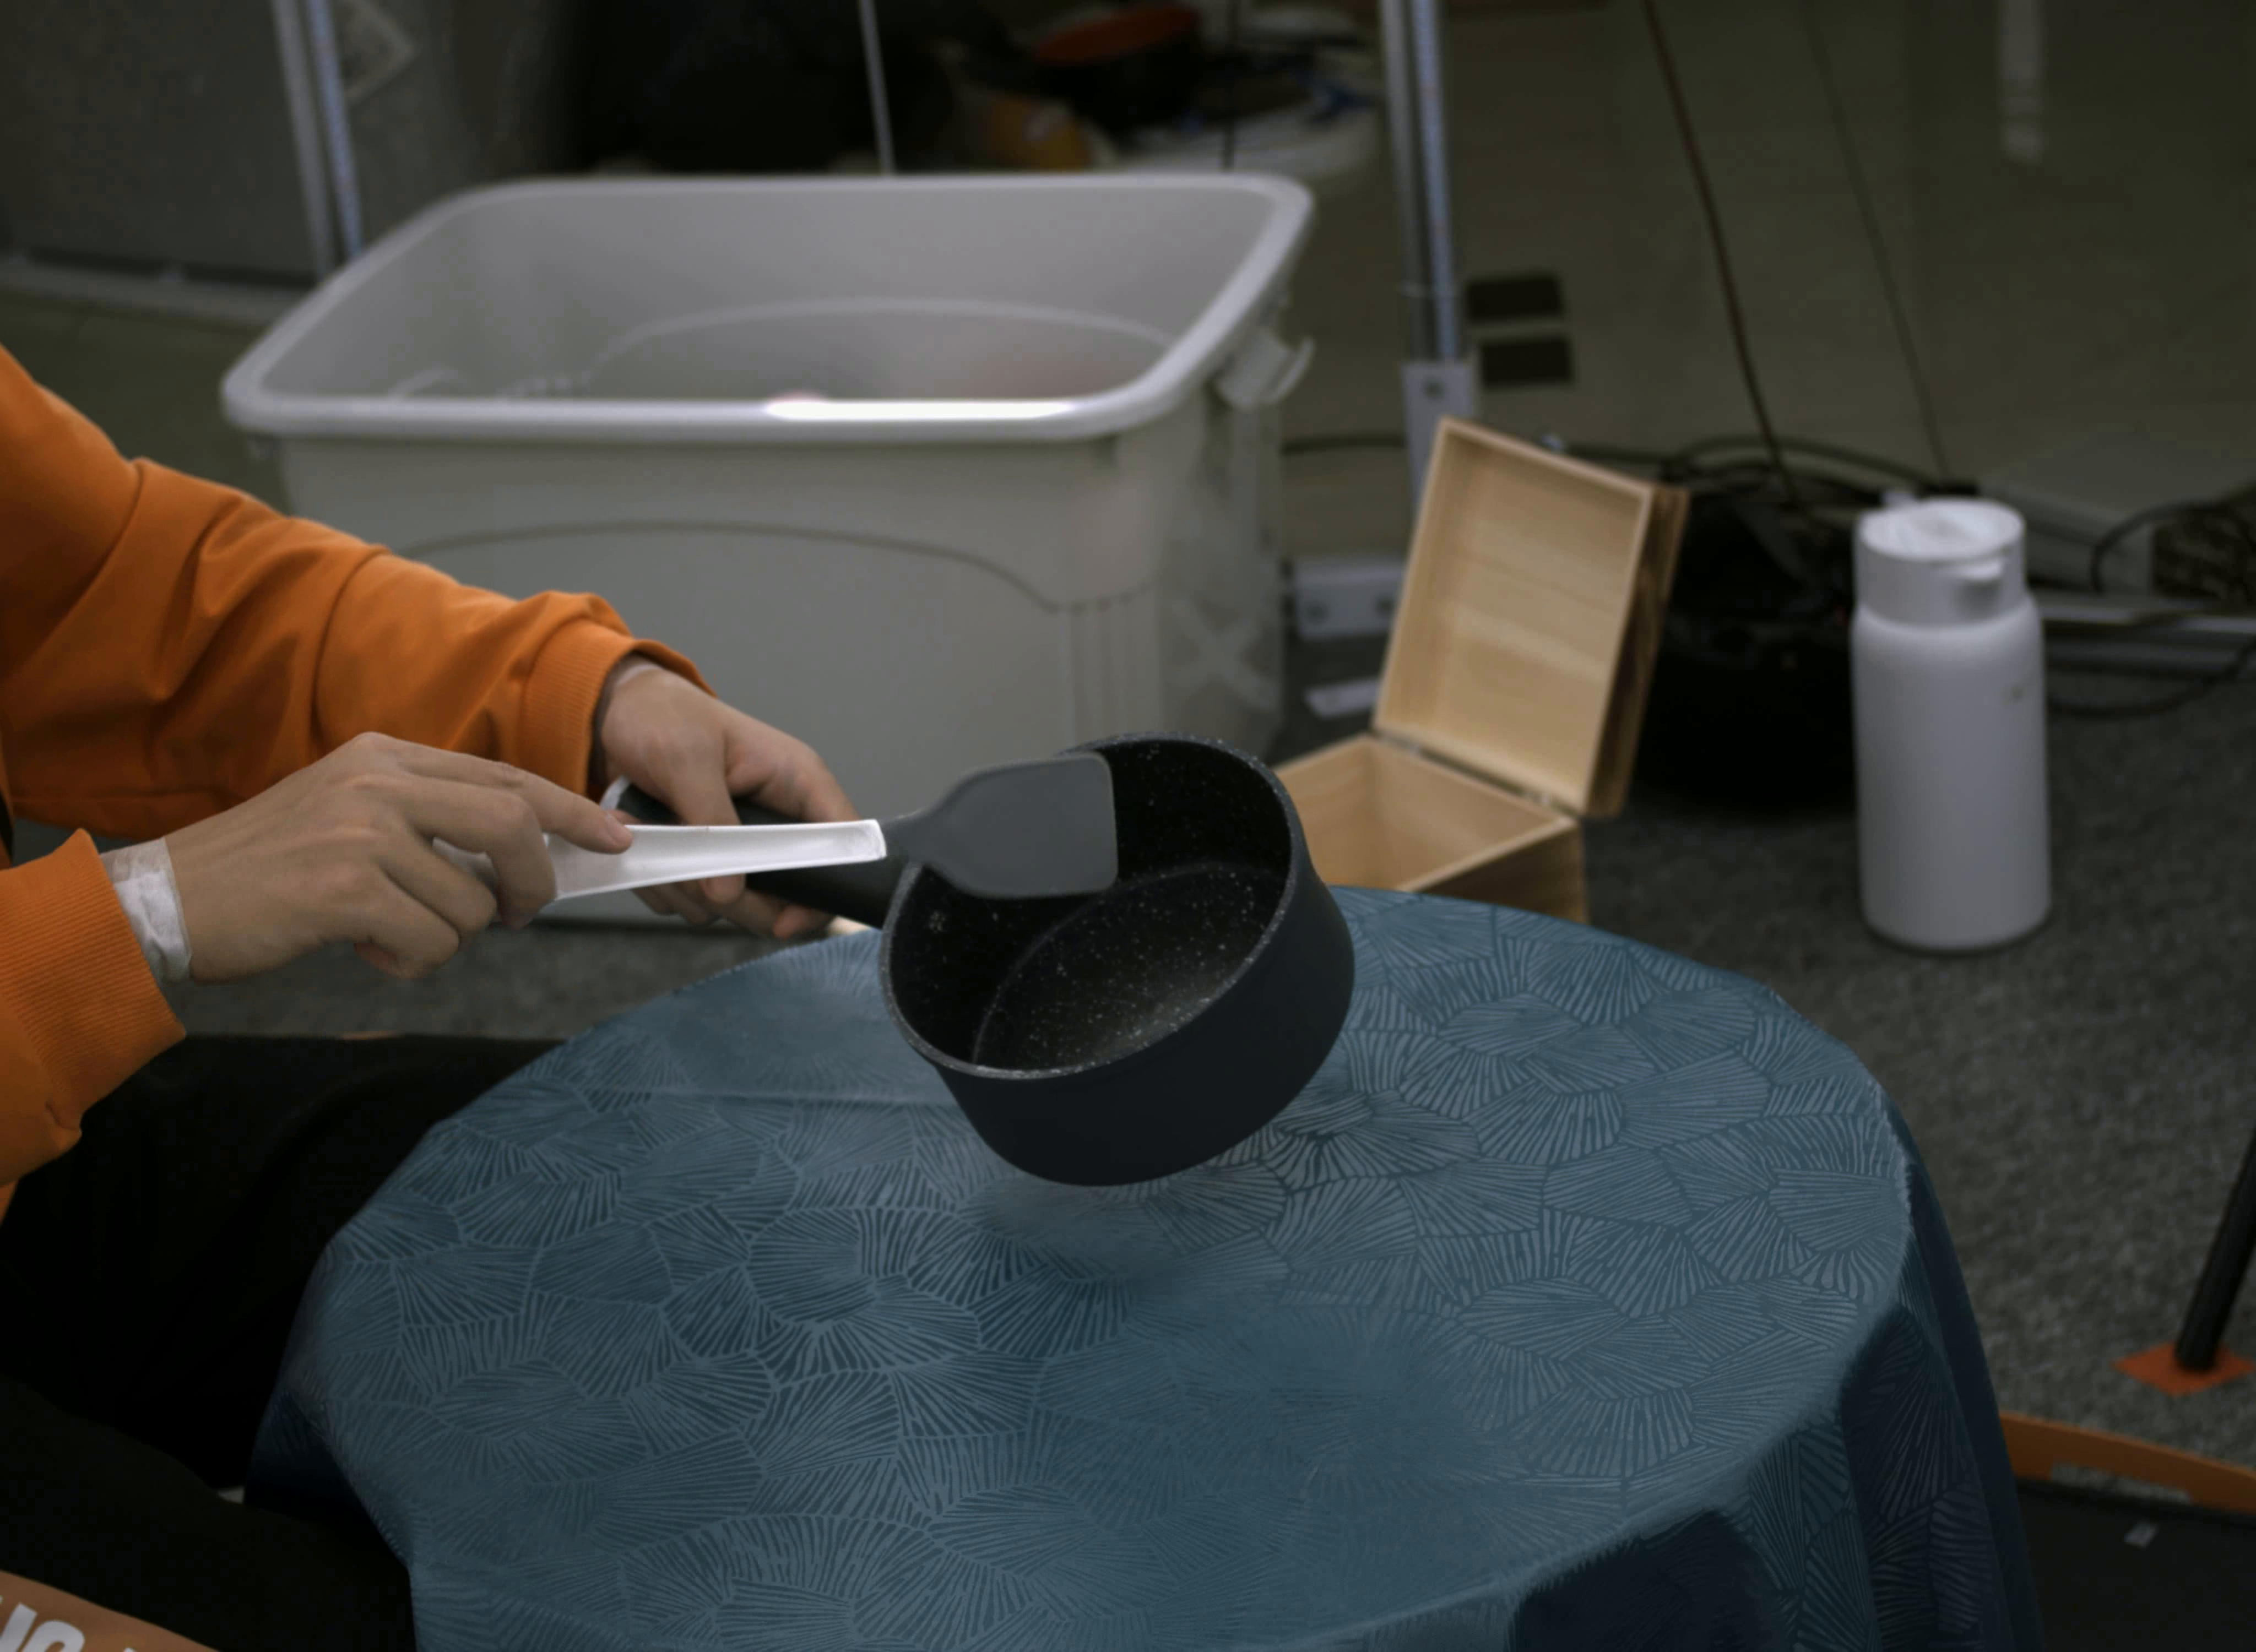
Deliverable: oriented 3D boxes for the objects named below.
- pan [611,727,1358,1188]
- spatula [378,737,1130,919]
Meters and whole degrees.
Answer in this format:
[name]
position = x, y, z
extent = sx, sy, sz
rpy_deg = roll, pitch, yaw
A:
[pan]
position = -0.063, 0.036, 2.187
extent = 0.326, 0.088, 0.170
rpy_deg = 15, 58, 37
[spatula]
position = -0.128, 0.005, 2.040
extent = 0.287, 0.058, 0.032
rpy_deg = -5, -4, -24
